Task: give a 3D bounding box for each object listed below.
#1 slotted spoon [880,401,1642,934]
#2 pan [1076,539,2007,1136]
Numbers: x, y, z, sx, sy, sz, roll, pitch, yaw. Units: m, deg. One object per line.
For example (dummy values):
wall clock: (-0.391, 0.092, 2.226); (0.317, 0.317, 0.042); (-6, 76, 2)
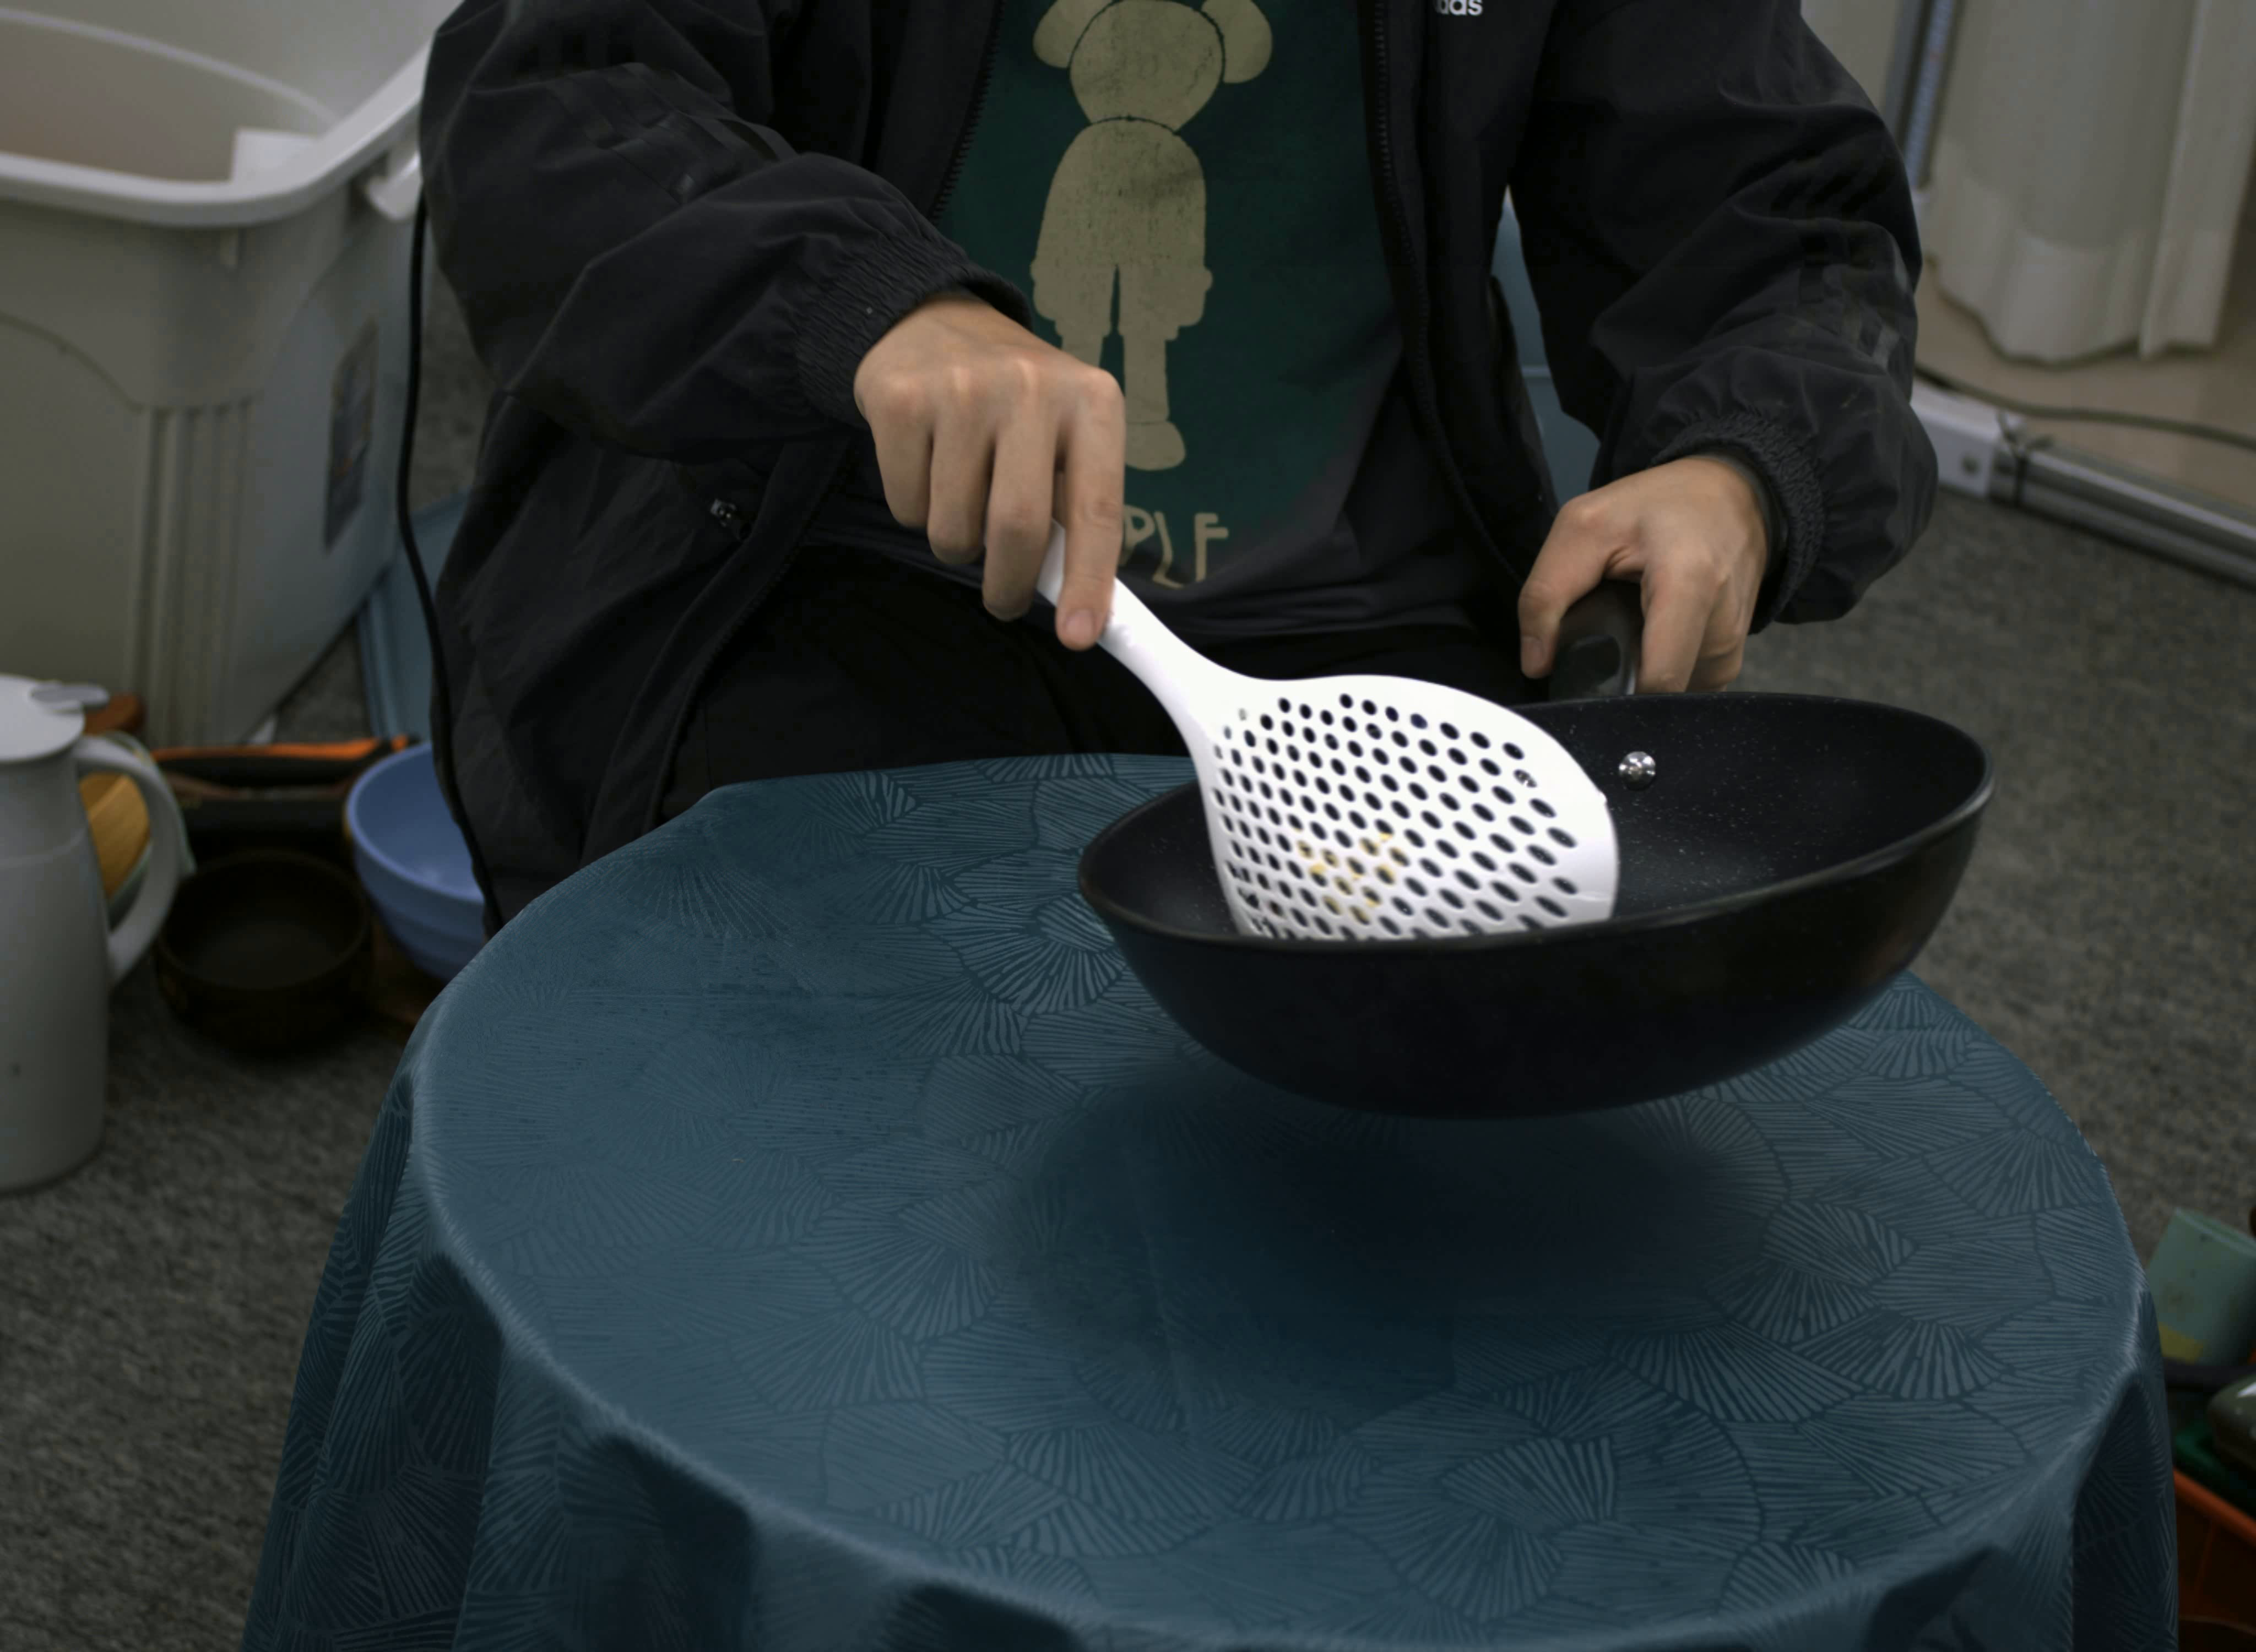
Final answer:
slotted spoon: (0.030, -0.039, 1.803); (0.050, 0.137, 0.351); (14, 23, -51)
pan: (0.154, 0.004, 1.858); (0.310, 0.111, 0.477); (-4, 15, 12)
